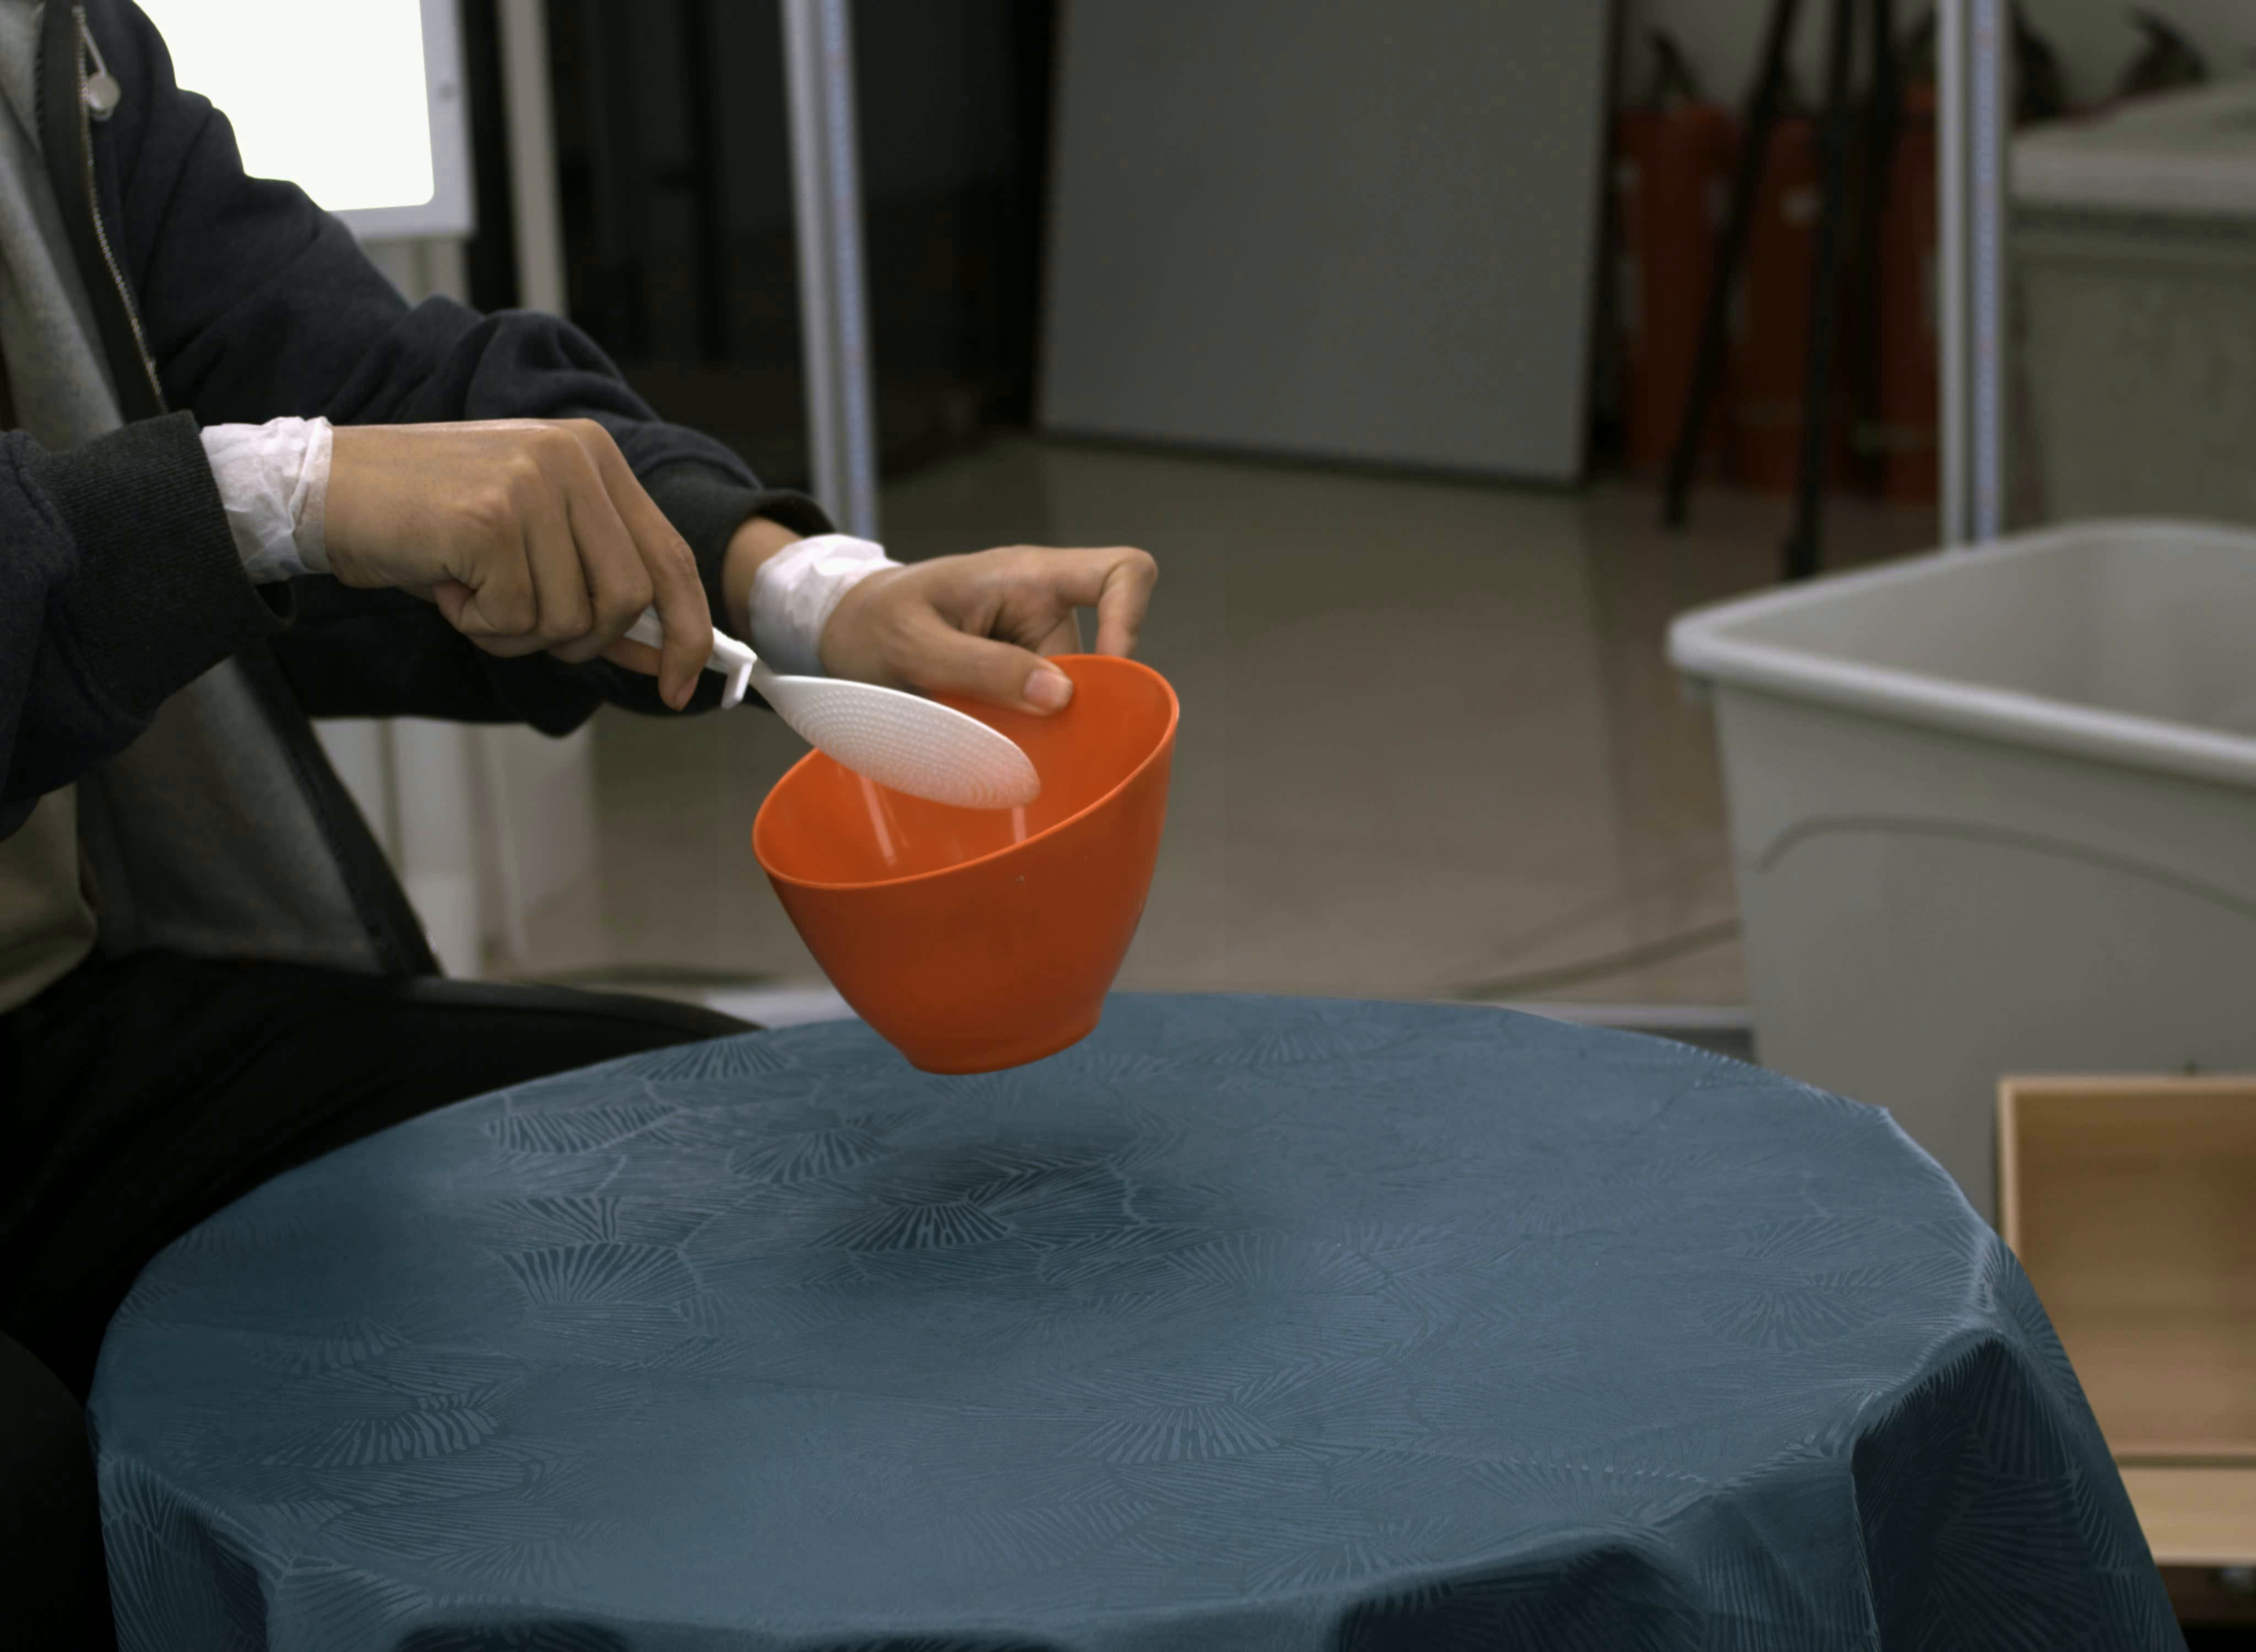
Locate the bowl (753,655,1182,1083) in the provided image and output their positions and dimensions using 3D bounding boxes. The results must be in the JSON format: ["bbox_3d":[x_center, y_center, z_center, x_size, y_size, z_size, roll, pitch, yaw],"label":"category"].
[{"bbox_3d":[-0.045,0.019,1.772,0.146,0.105,0.148,-12,18,3],"label":"bowl"}]

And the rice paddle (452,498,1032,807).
[{"bbox_3d":[-0.120,-0.050,1.736,0.202,0.029,0.069,25,-24,-20],"label":"rice paddle"}]
